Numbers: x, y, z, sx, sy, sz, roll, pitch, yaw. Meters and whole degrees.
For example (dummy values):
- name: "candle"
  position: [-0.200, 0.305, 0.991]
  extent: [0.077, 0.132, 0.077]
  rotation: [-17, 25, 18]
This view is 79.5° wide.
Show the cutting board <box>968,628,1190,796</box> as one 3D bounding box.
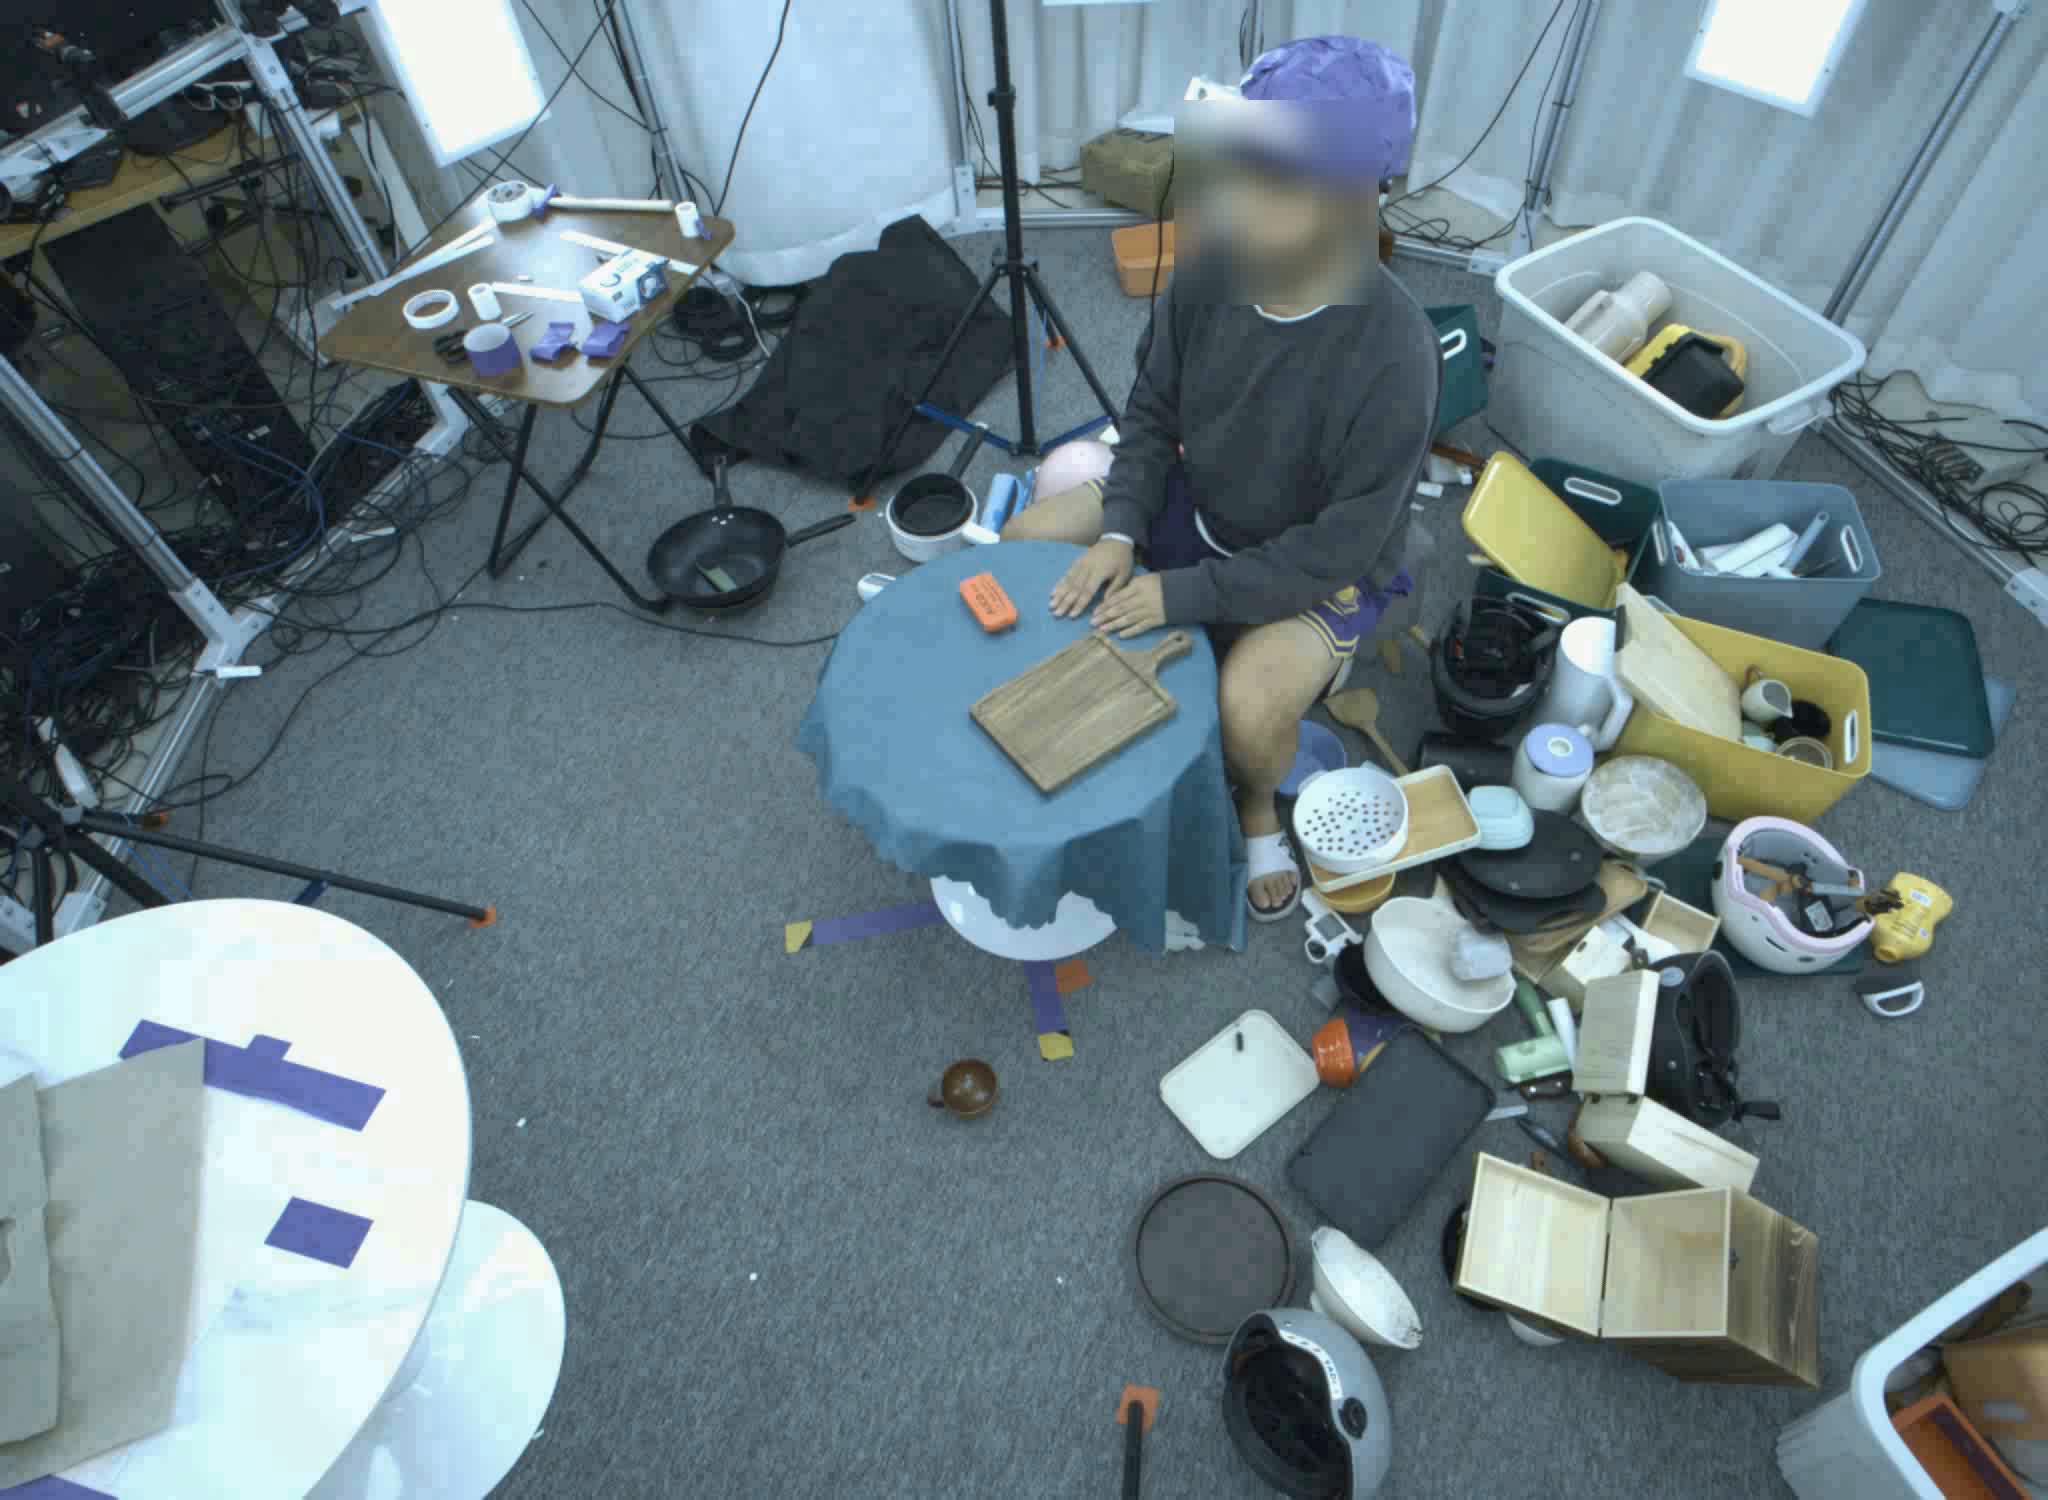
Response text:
- name: "cutting board"
  position: [0.111, -0.086, 1.835]
  extent: [0.355, 0.023, 0.197]
  rotation: [-33, 60, -20]

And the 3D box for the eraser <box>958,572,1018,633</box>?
- name: "eraser"
  position: [-0.057, -0.235, 1.940]
  extent: [0.059, 0.023, 0.106]
  rotation: [-26, 57, -14]
